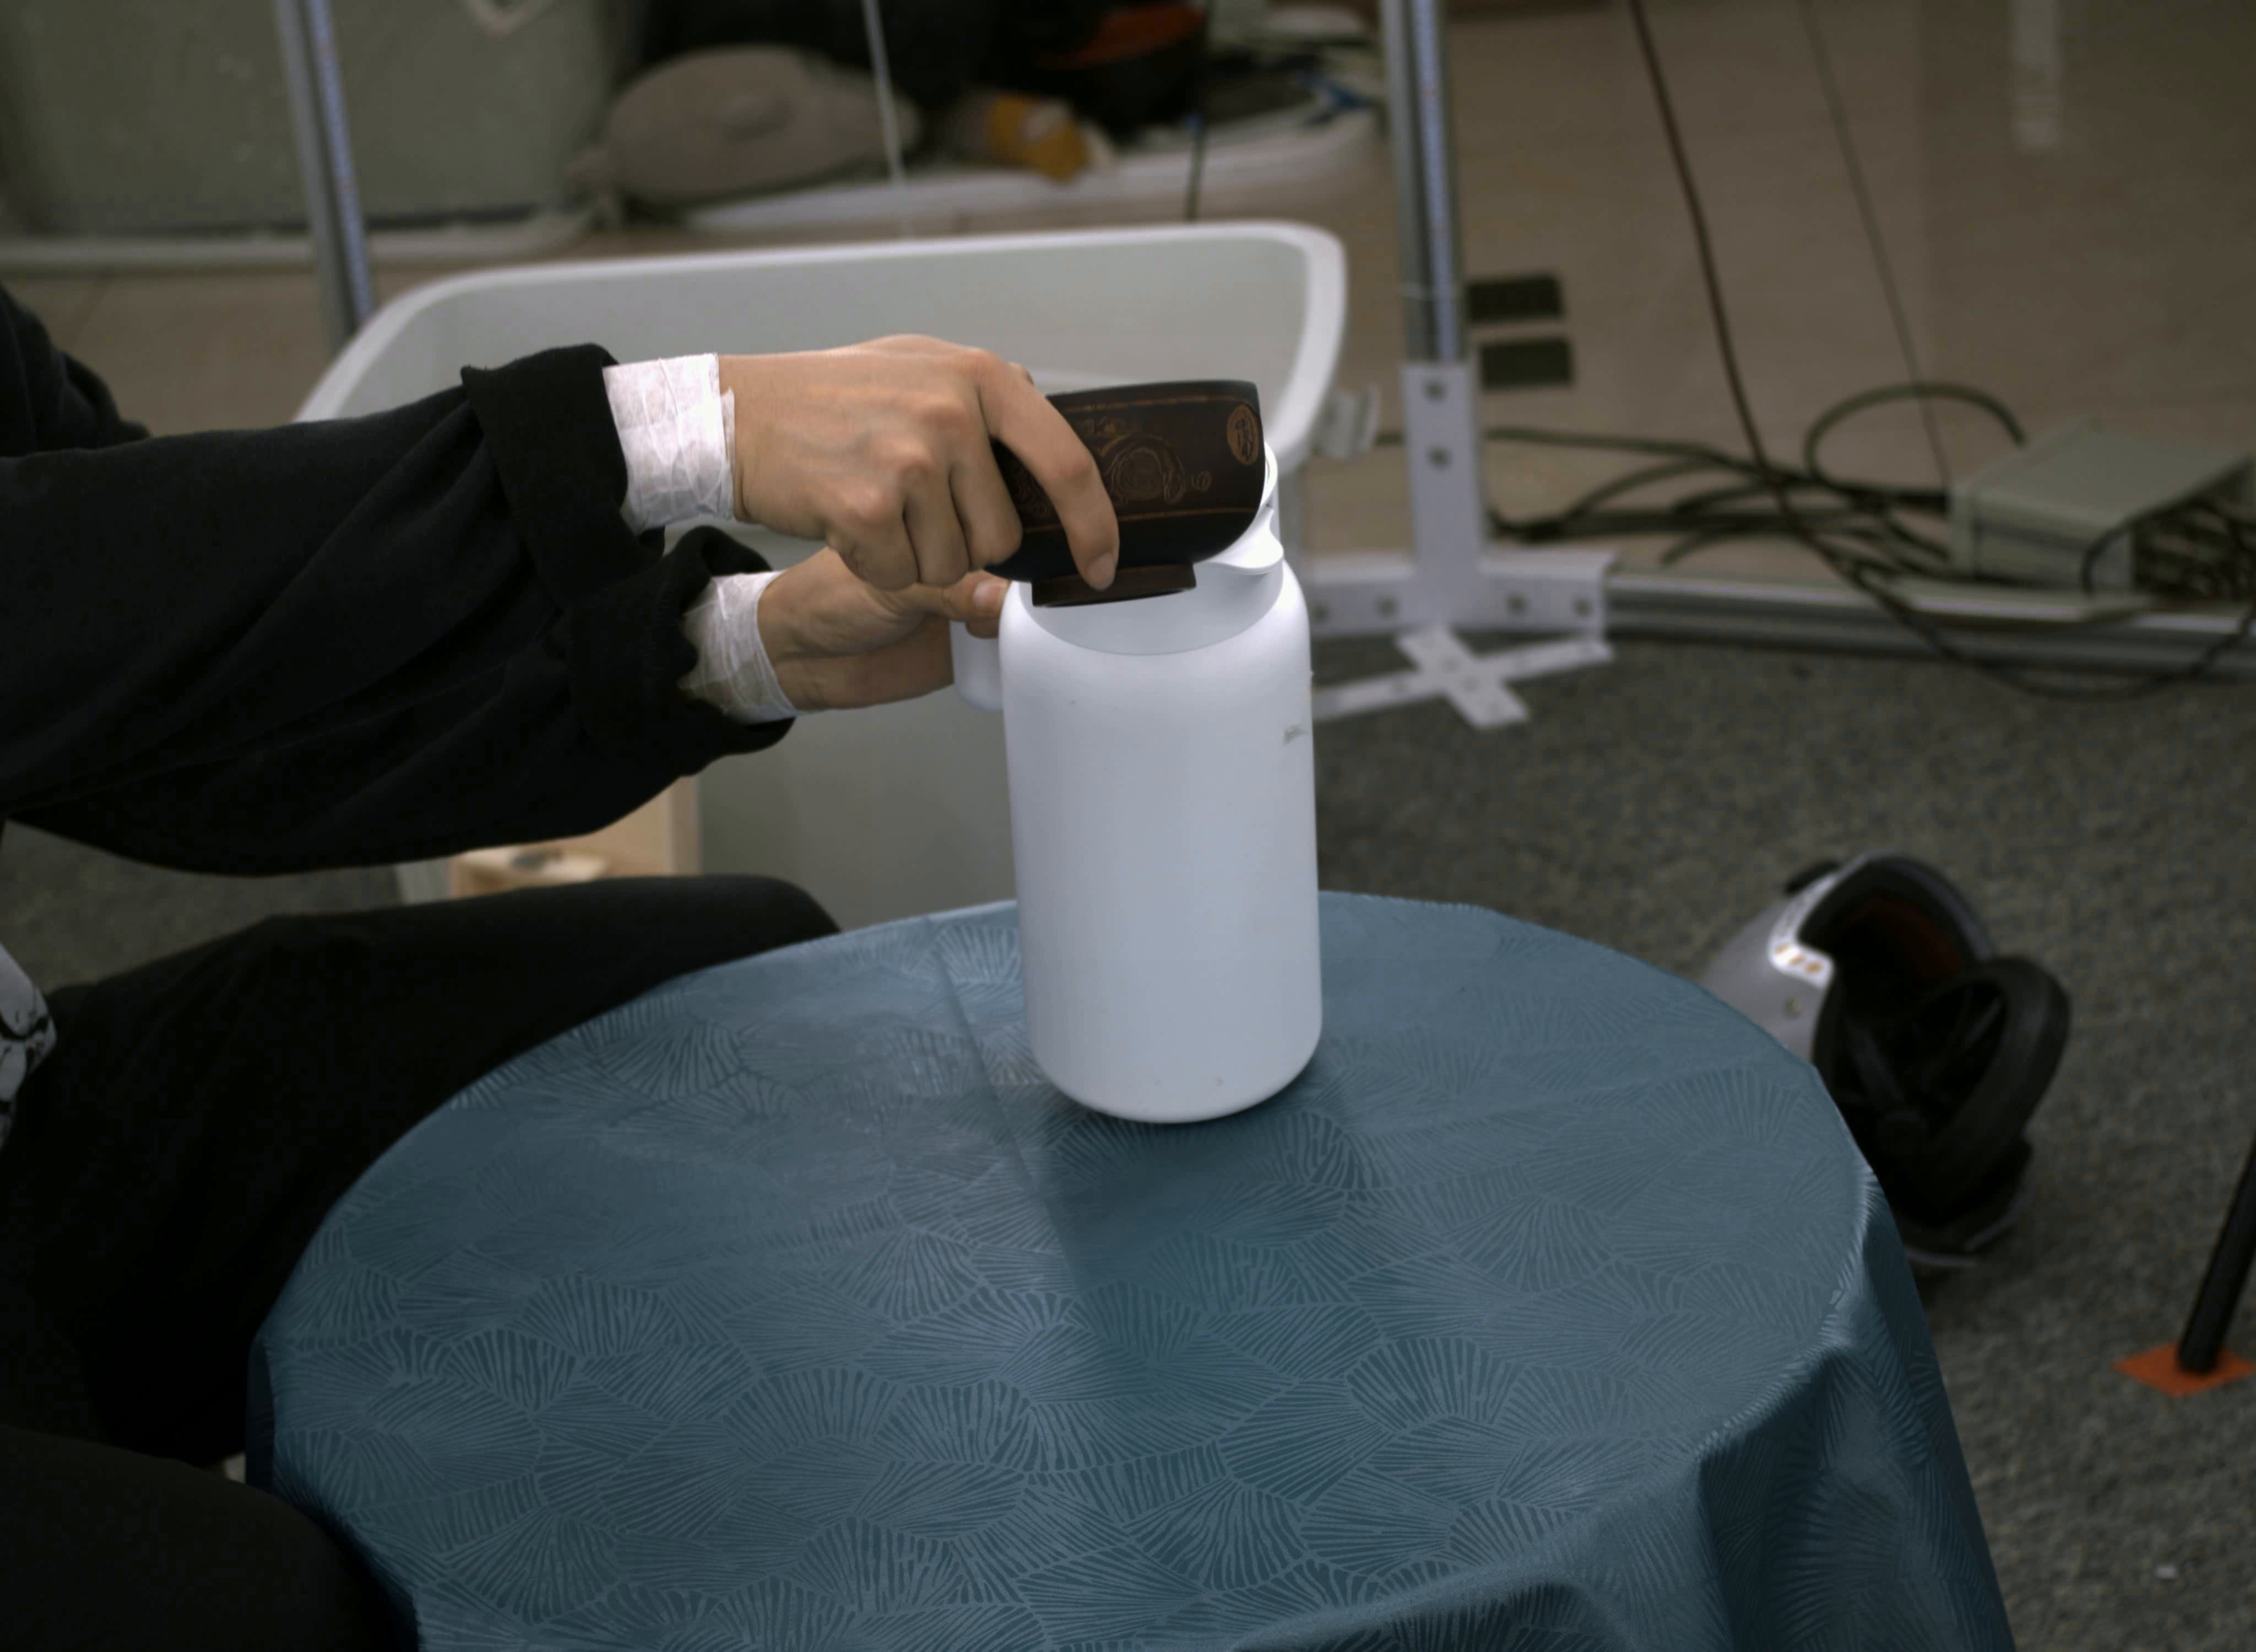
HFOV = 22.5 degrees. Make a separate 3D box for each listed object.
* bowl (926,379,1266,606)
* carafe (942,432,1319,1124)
[{"bbox_3d":[-0.009,-0.114,1.959,0.118,0.070,0.118,-7,1,0],"label":"bowl"},{"bbox_3d":[0.000,-0.029,2.165,0.171,0.274,0.122,29,49,36],"label":"carafe"}]
